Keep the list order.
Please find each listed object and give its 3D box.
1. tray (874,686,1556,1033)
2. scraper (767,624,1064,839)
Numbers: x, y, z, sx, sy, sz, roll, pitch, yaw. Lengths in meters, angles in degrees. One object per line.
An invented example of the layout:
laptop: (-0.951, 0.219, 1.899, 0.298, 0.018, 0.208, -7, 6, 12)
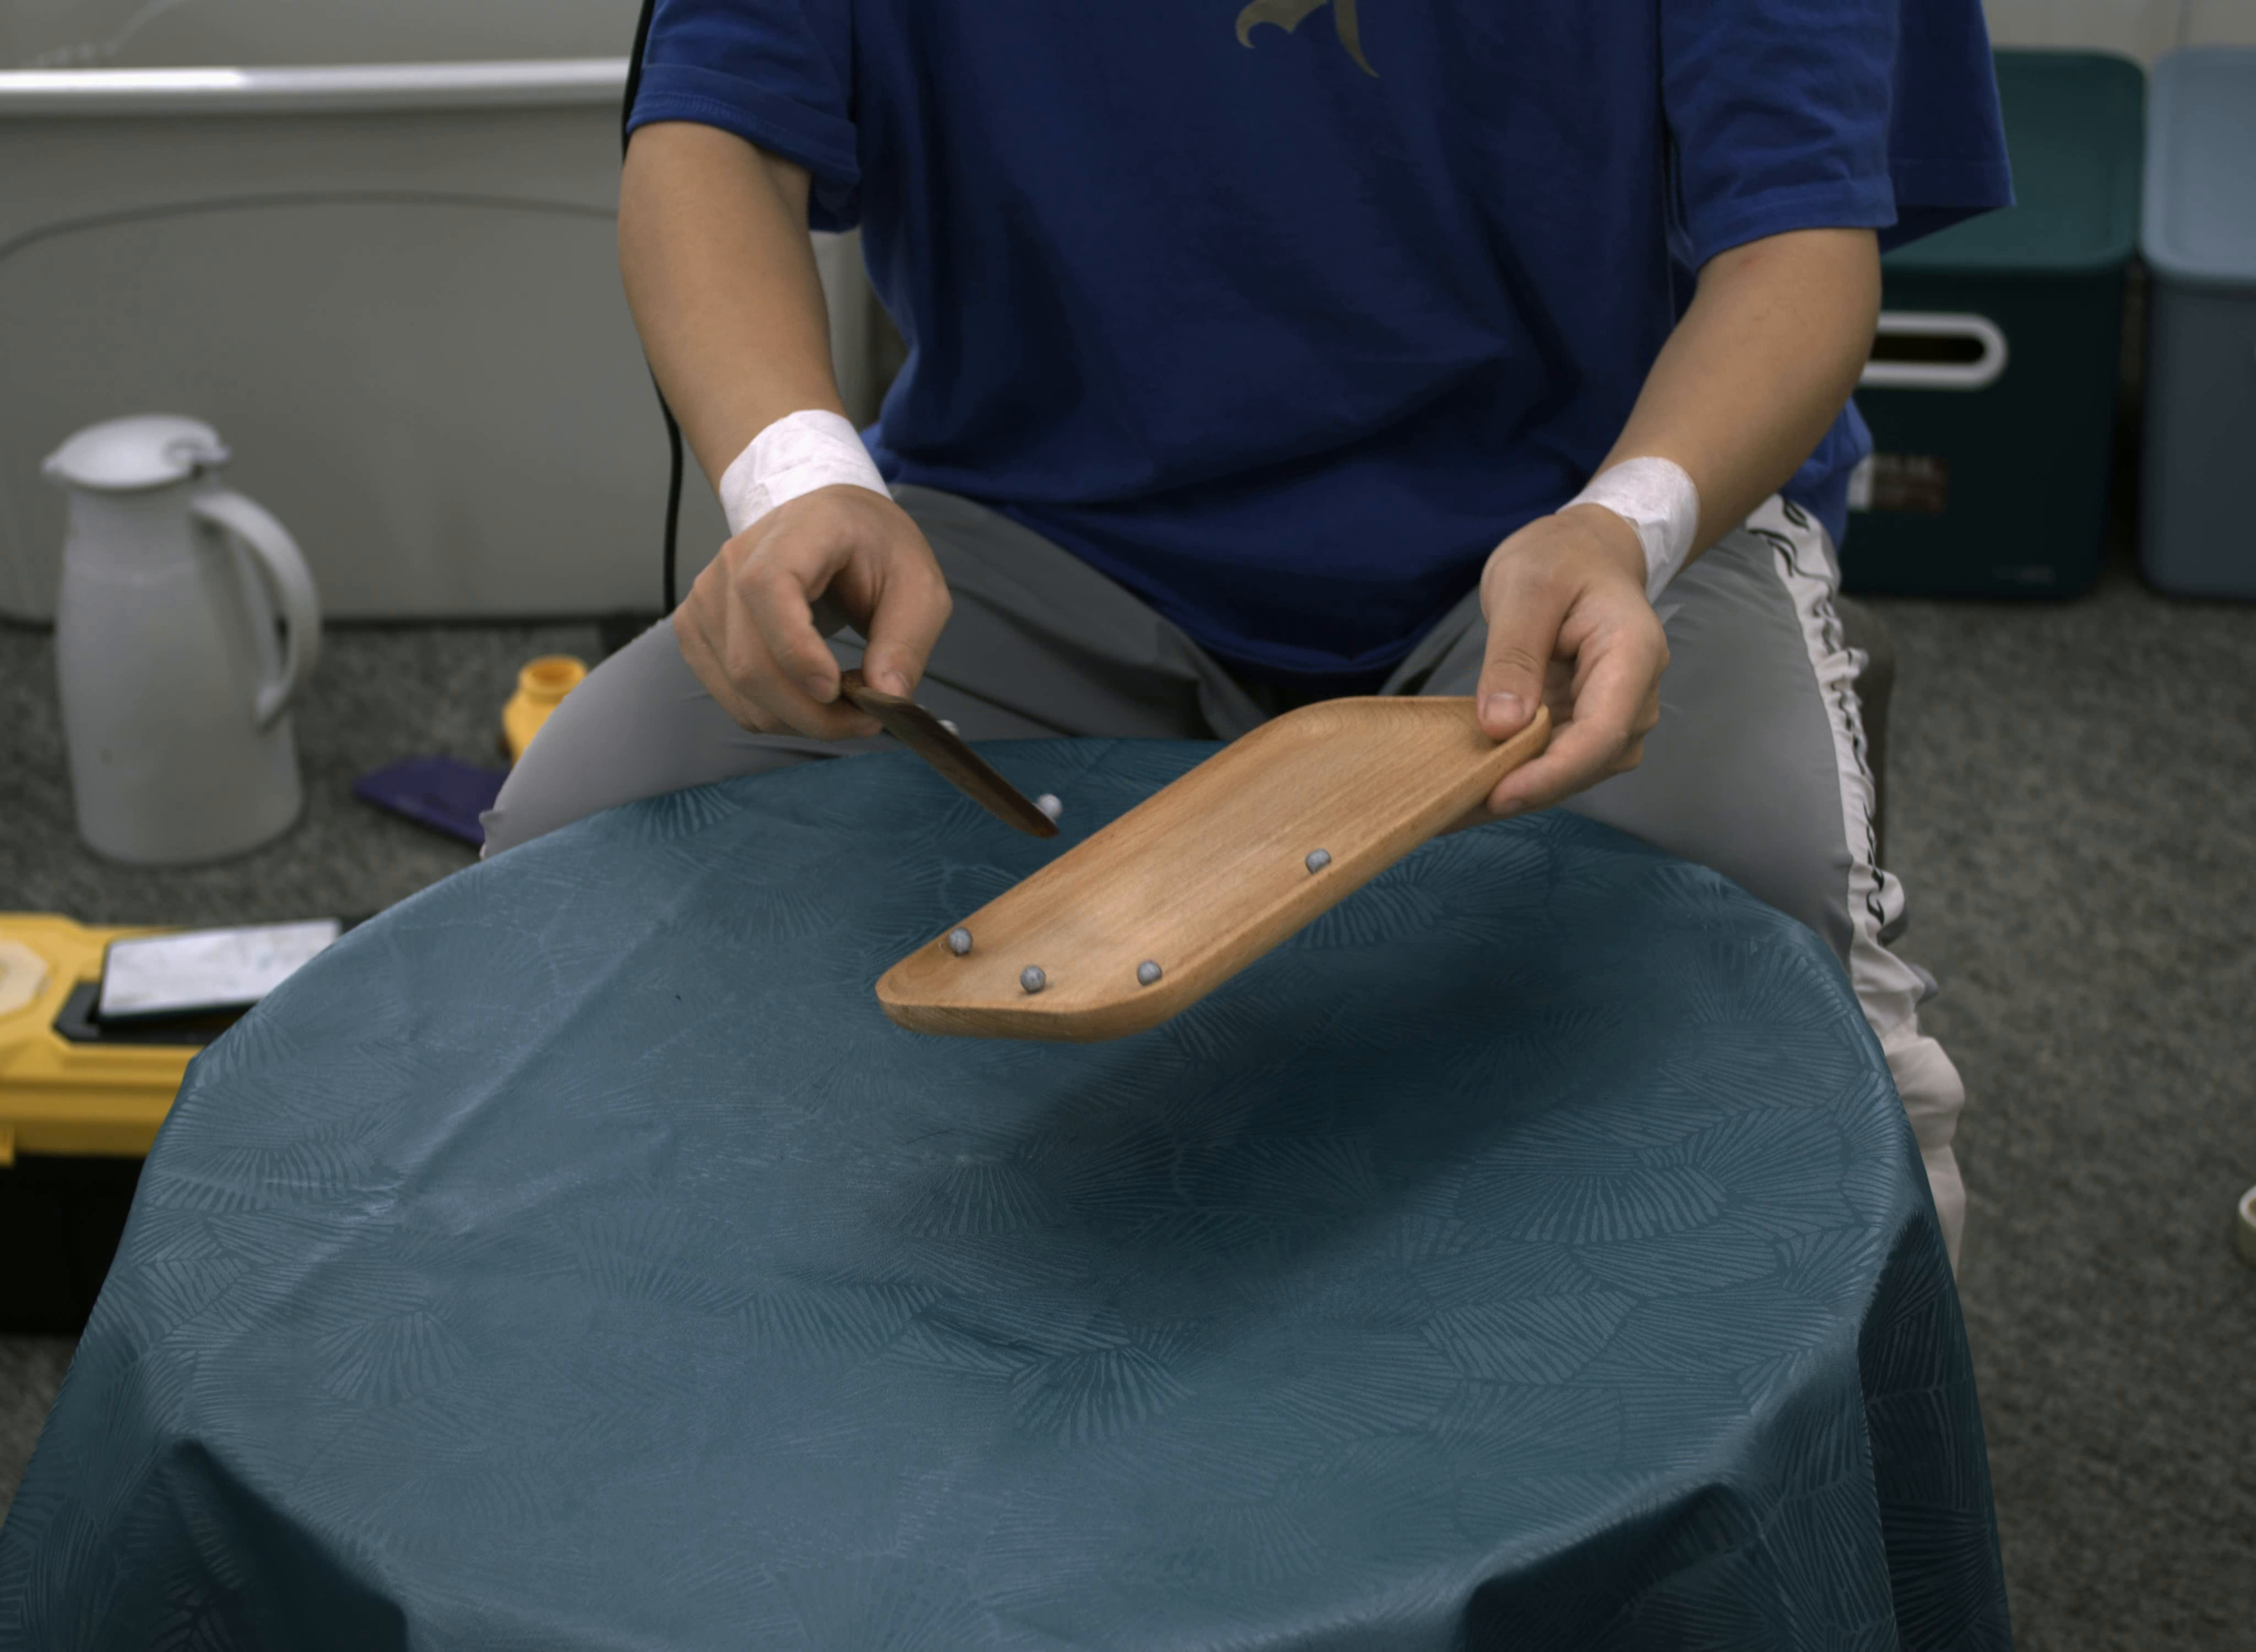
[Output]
tray: (0.032, 0.009, 1.873, 0.129, 0.023, 0.254, 4, 26, 43)
scraper: (-0.082, -0.039, 1.898, 0.011, 0.075, 0.211, -48, 25, -5)
